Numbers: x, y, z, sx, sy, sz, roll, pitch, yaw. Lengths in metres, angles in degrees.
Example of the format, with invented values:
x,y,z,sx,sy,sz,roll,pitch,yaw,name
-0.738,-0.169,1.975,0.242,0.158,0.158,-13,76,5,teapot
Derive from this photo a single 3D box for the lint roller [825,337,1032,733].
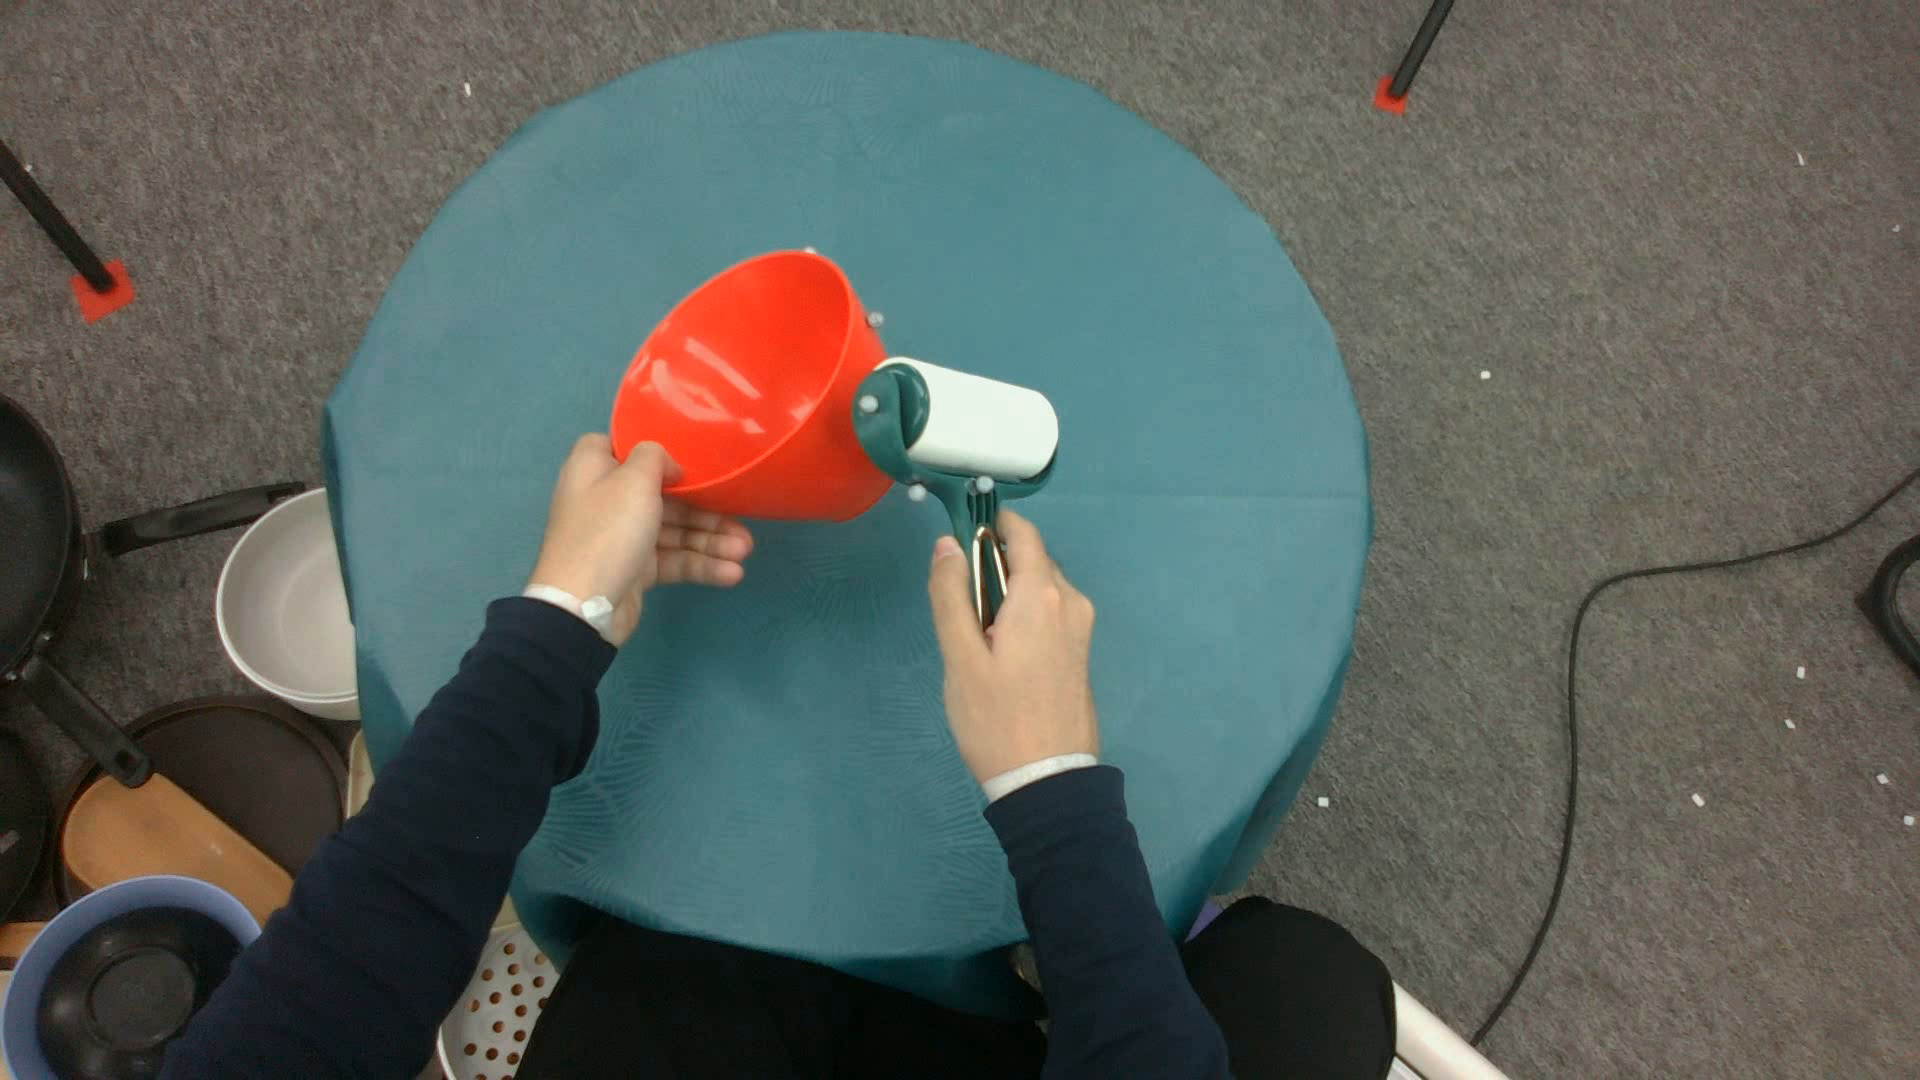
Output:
x,y,z,sx,sy,sz,roll,pitch,yaw,name
0.001,-0.003,0.644,0.134,0.048,0.180,4,70,-54,lint roller

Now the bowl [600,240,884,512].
x,y,z,sx,sy,sz,roll,pitch,yaw,name
-0.098,-0.070,0.709,0.104,0.147,0.148,39,59,-37,bowl
